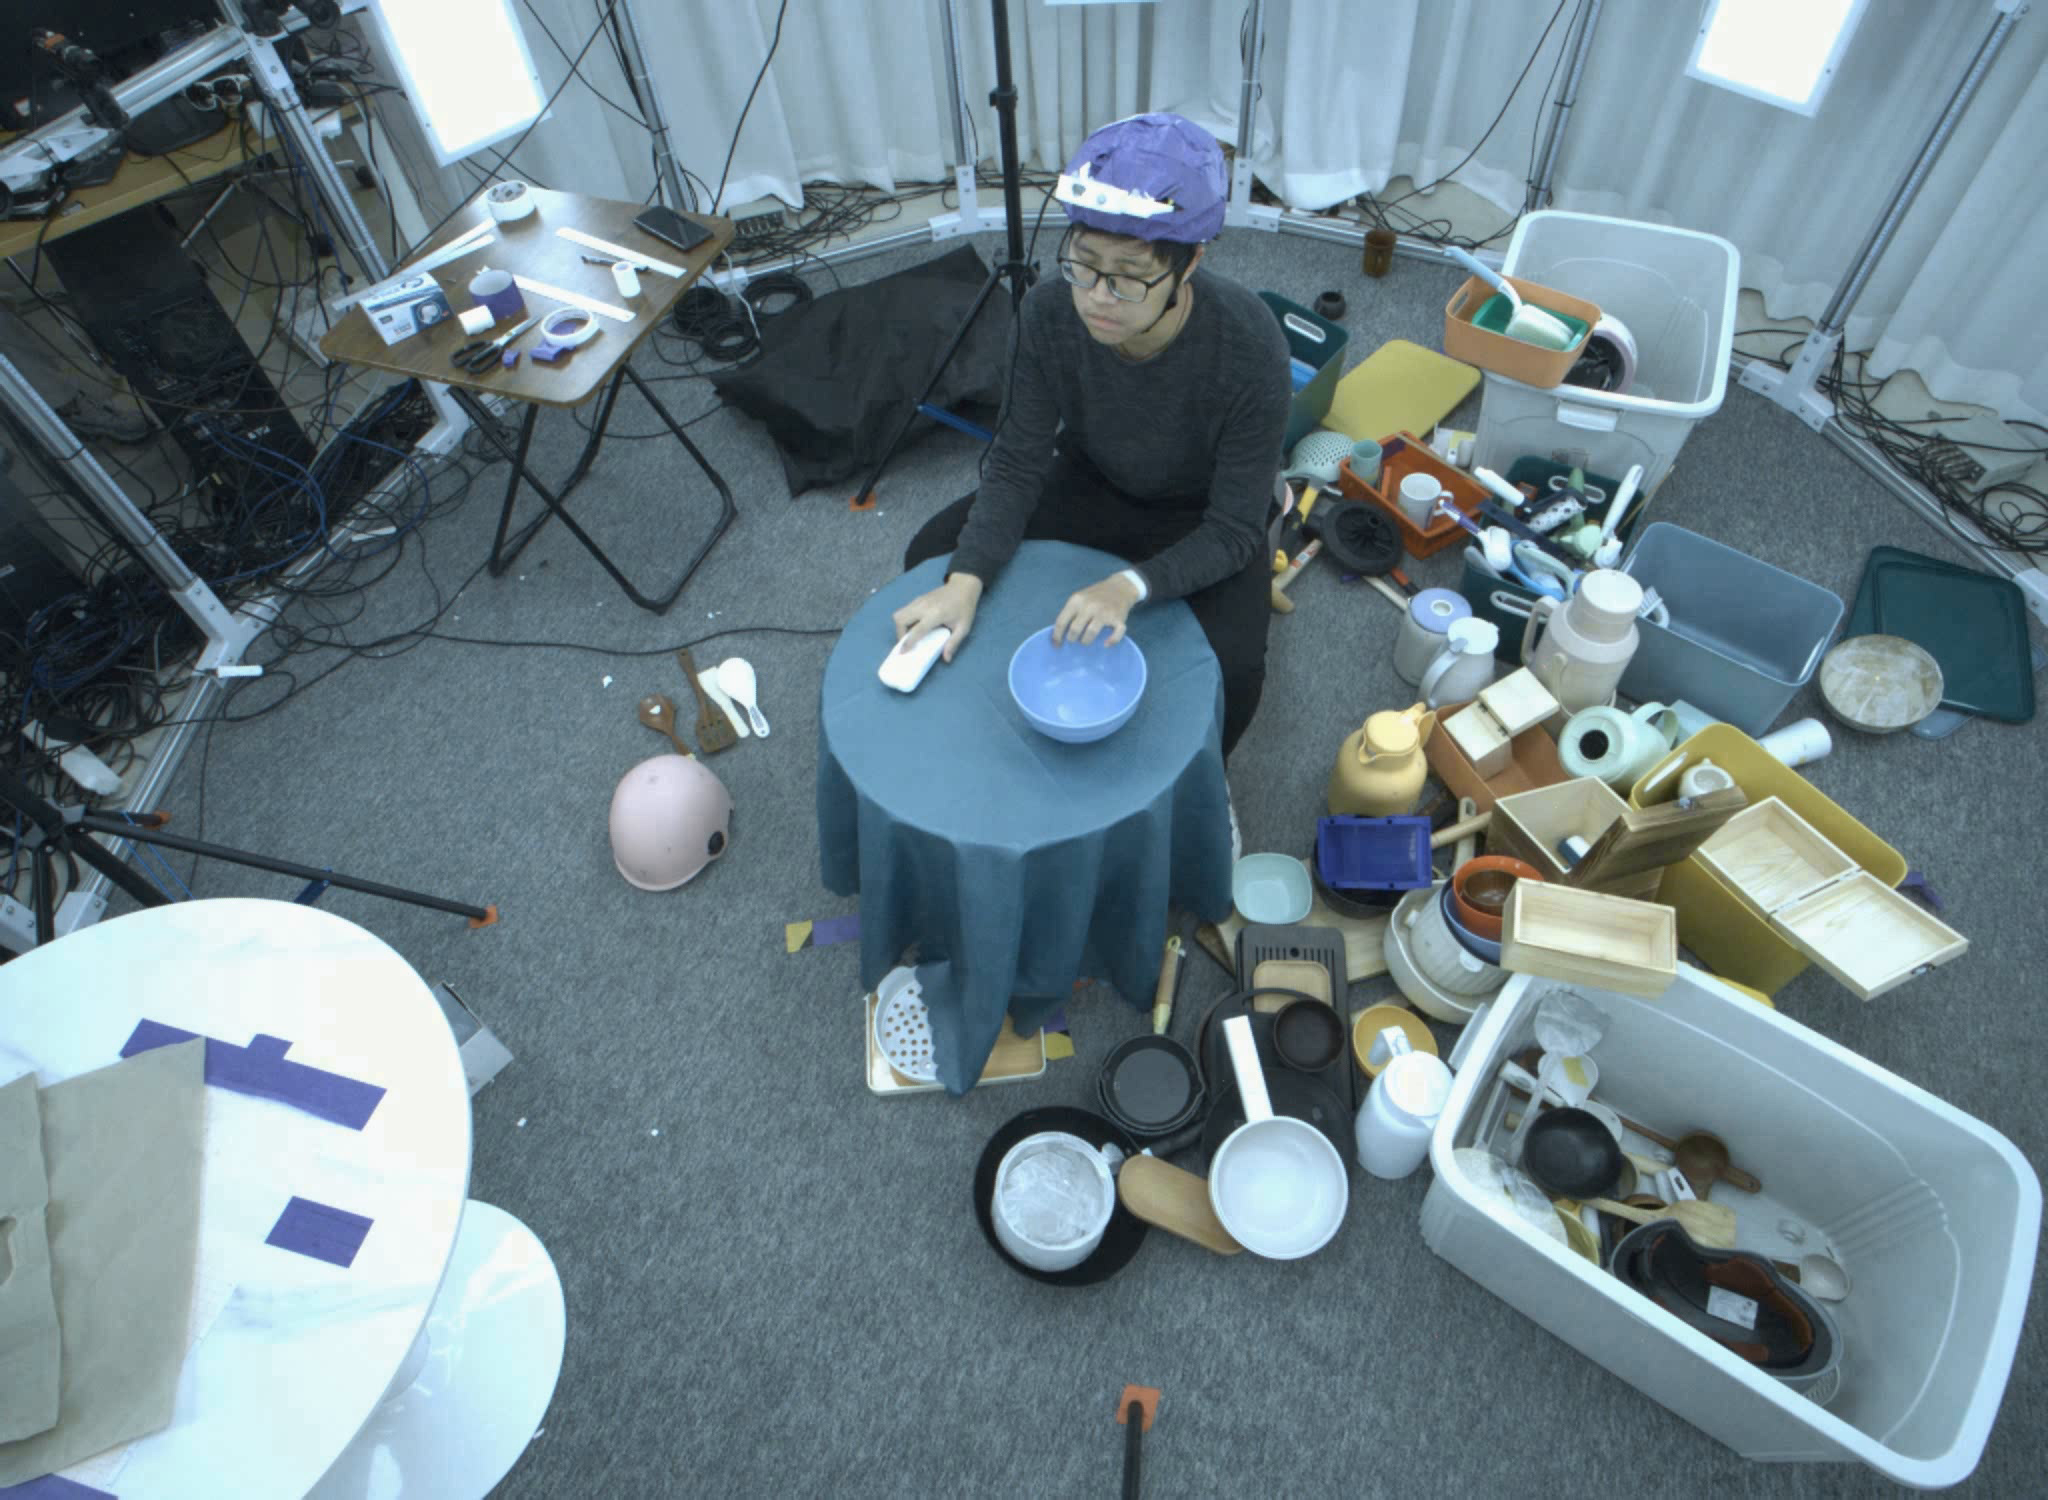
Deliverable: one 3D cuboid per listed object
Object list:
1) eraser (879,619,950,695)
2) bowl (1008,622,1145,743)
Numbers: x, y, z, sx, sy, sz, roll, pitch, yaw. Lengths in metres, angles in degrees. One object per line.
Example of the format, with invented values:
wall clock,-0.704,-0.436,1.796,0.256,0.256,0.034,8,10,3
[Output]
eraser,-0.165,-0.144,1.876,0.062,0.035,0.131,23,60,17
bowl,0.078,-0.083,1.787,0.196,0.096,0.194,-1,54,3
